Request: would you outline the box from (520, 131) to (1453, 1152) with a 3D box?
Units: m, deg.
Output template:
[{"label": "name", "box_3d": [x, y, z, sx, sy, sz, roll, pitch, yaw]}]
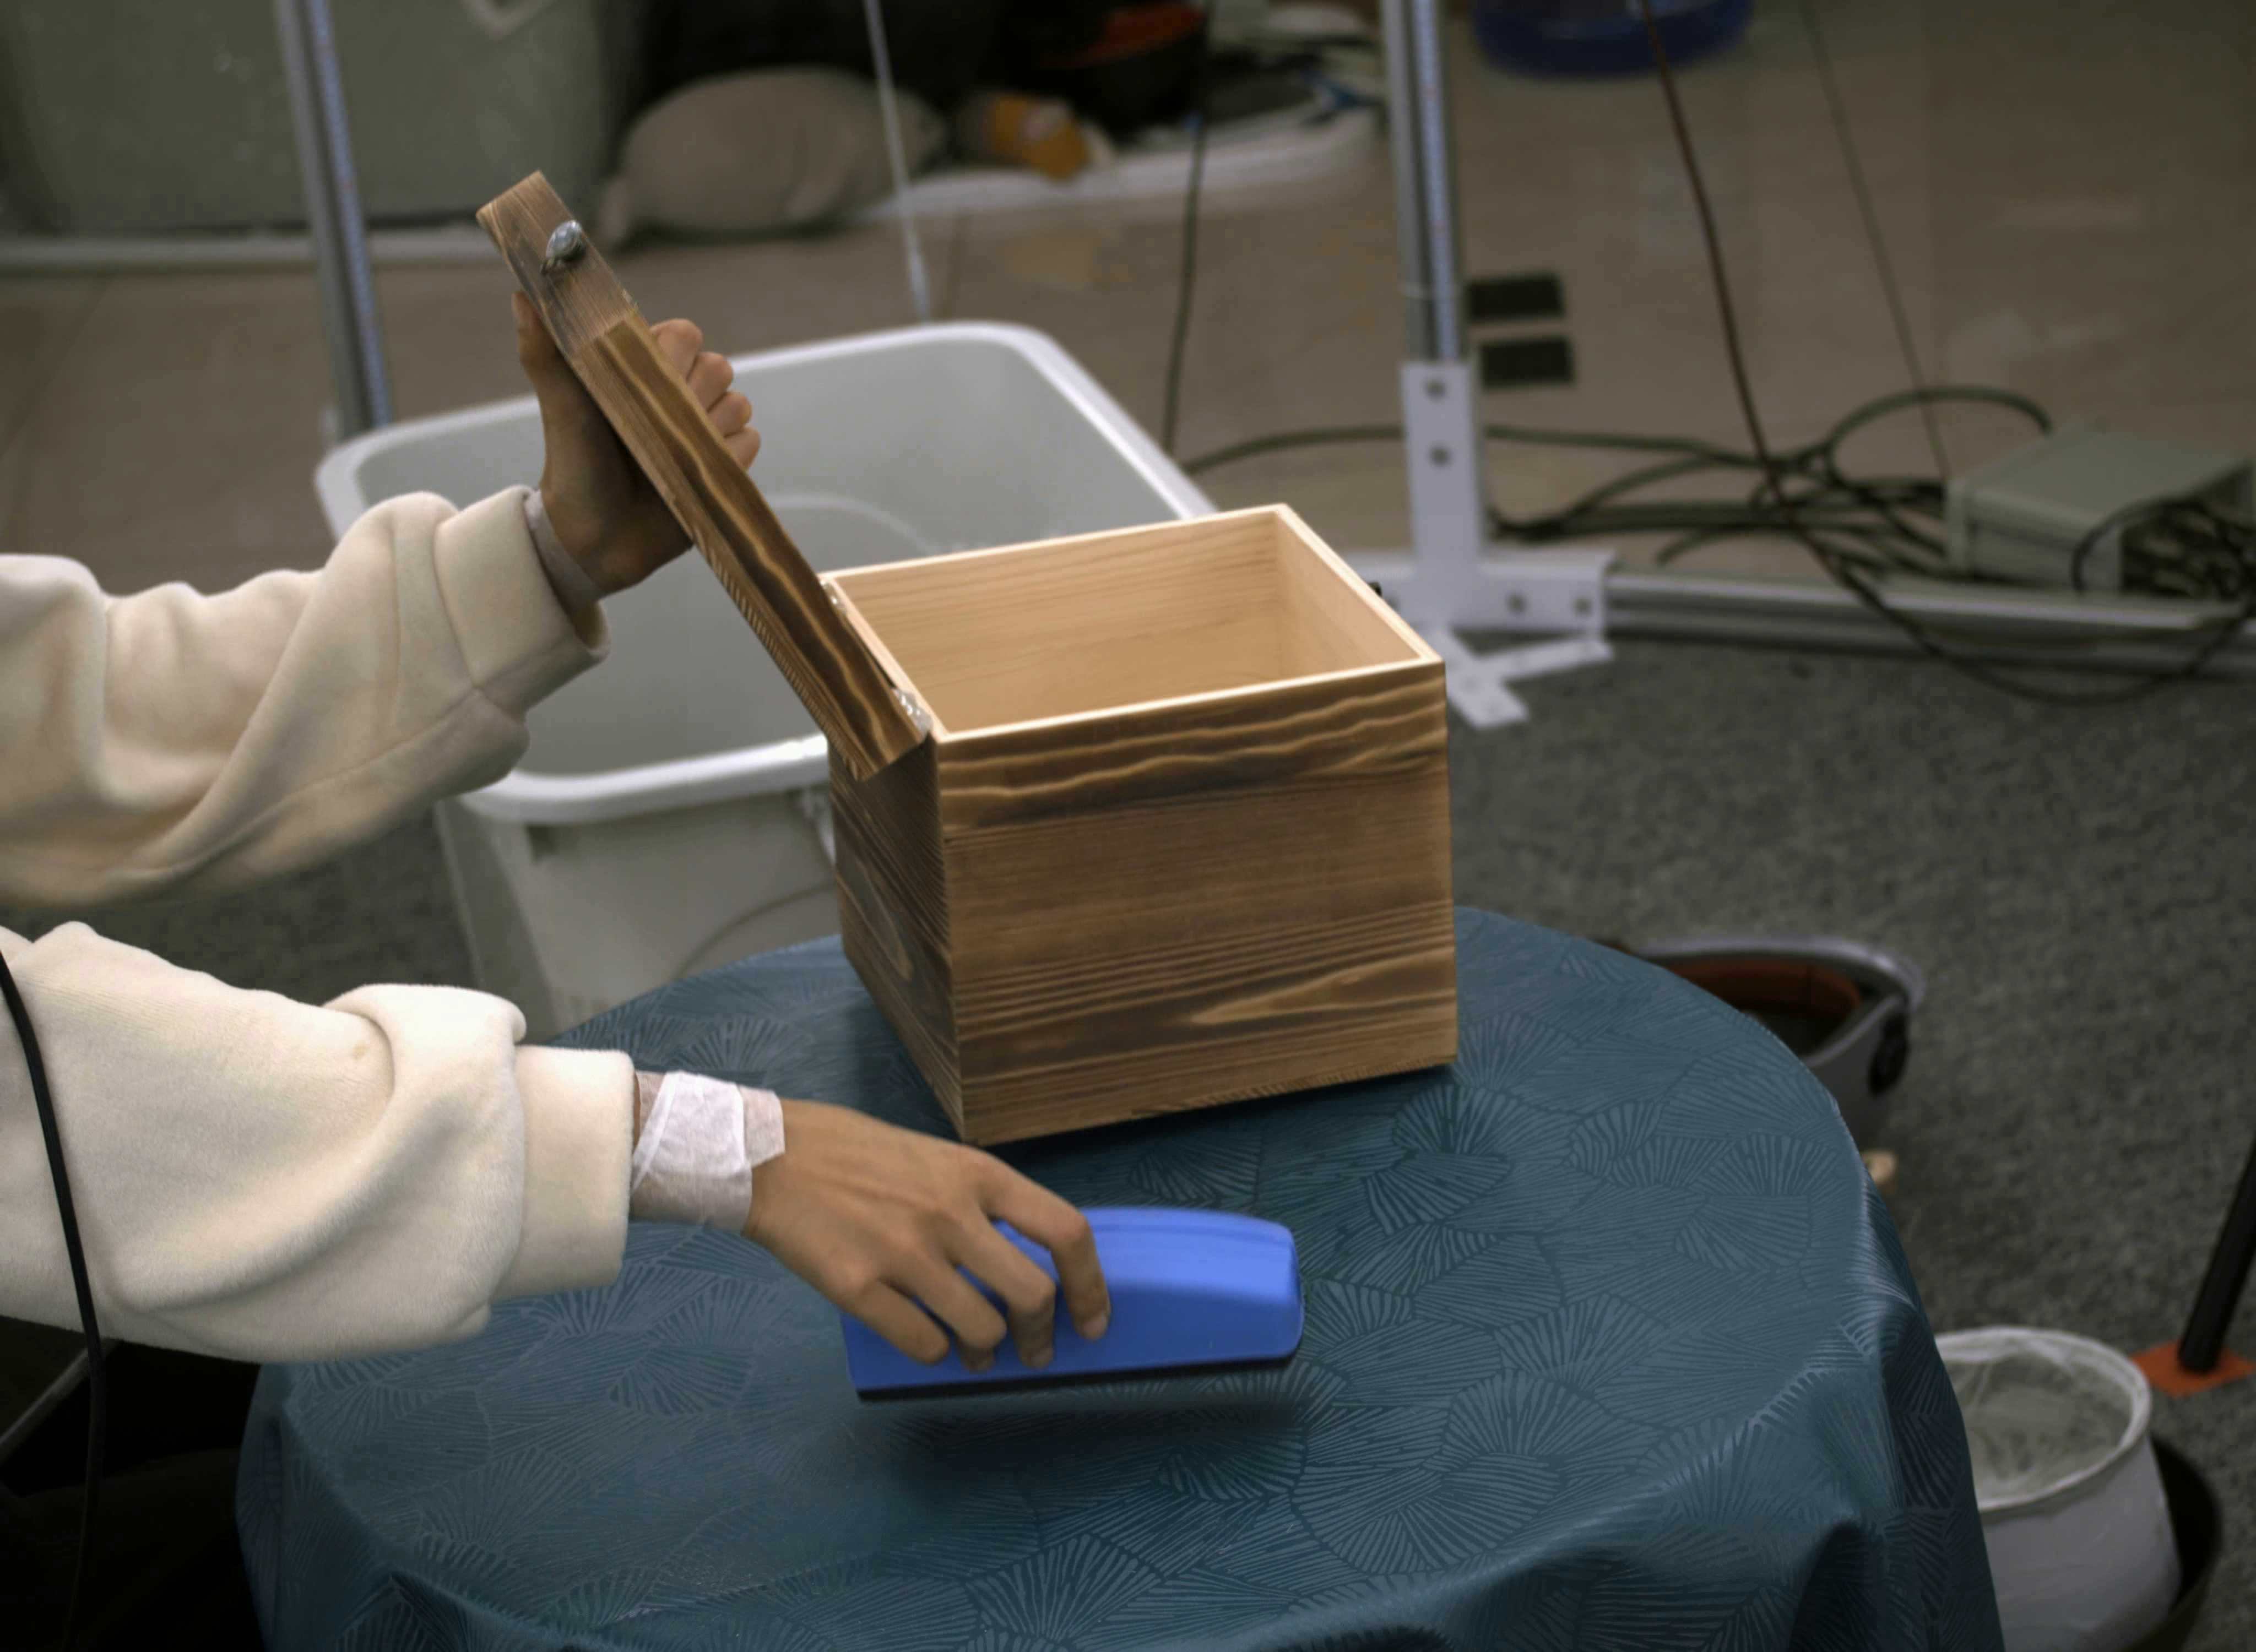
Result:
[{"label": "box", "box_3d": [-0.053, -0.085, 2.180, 0.321, 0.381, 0.206, -10, 25, -14]}]

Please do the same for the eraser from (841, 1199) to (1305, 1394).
[{"label": "eraser", "box_3d": [-0.020, 0.161, 1.977, 0.162, 0.048, 0.053, -6, 28, 7]}]
